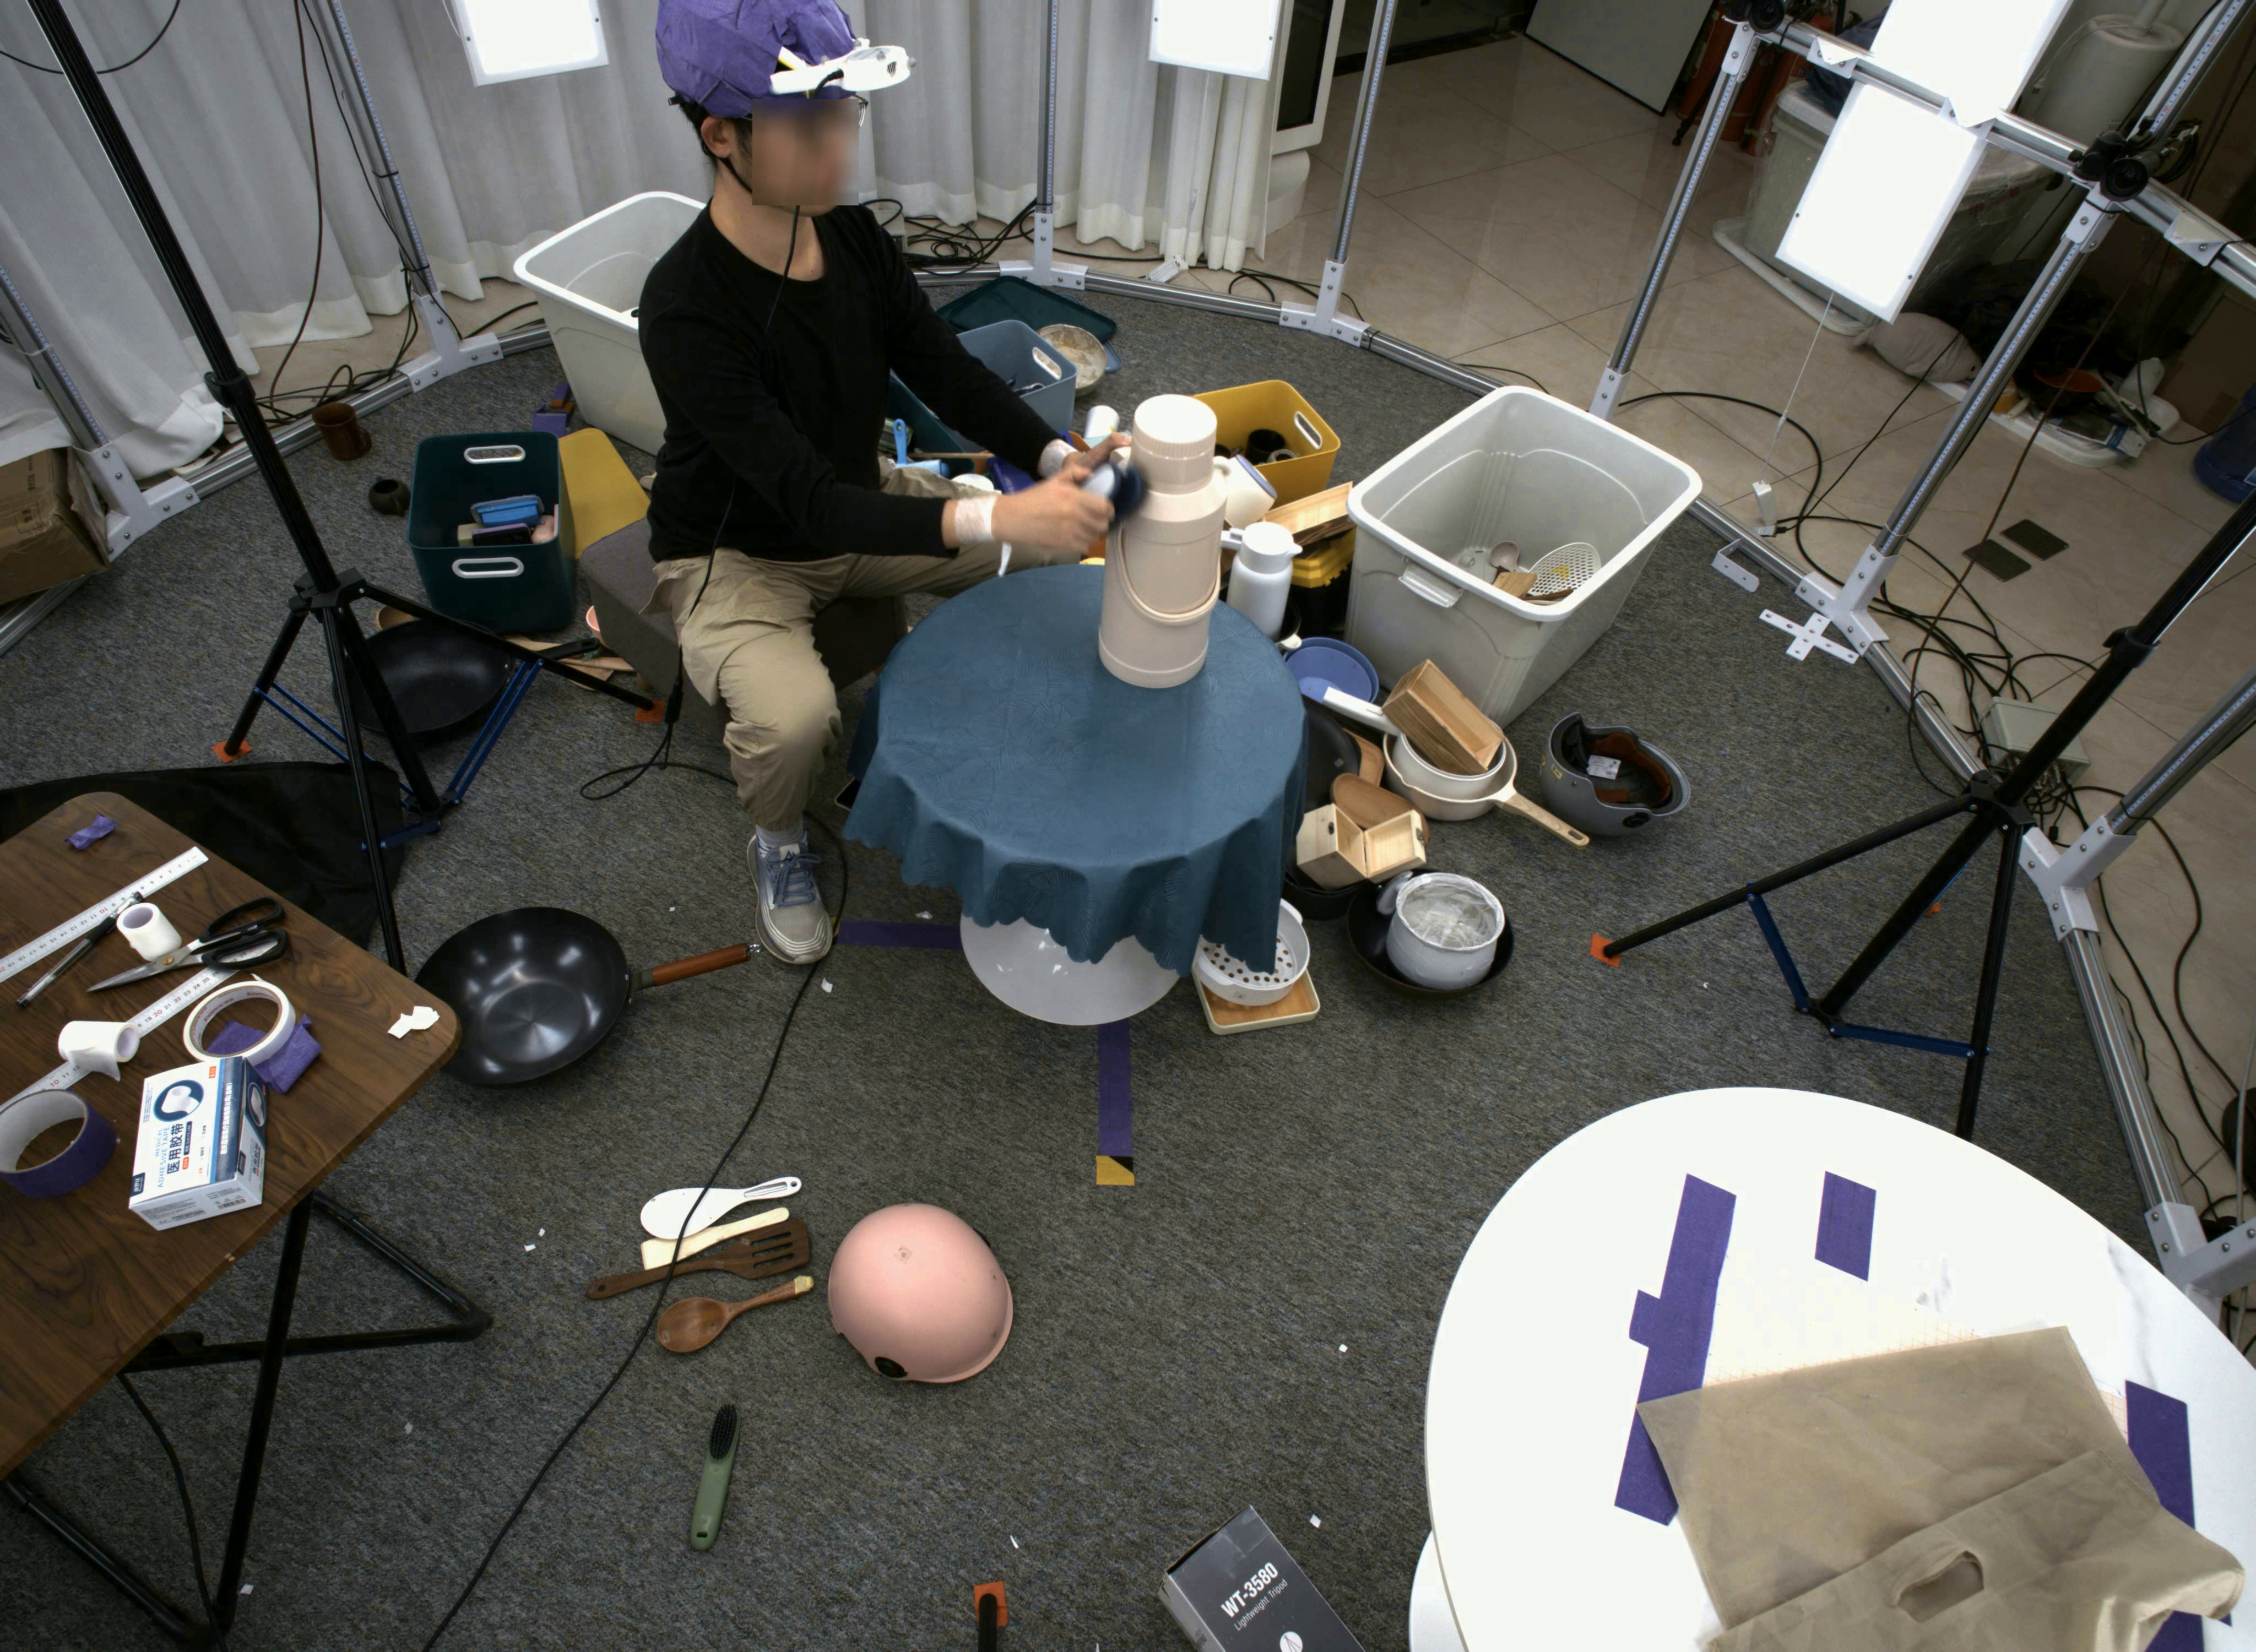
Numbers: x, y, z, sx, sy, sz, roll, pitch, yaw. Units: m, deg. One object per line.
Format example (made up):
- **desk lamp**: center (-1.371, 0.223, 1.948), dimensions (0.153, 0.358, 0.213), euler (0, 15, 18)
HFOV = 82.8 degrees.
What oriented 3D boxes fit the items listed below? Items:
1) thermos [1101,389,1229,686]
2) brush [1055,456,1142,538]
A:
- **thermos**: center (0.042, -0.395, 1.760), dimensions (0.176, 0.396, 0.211), euler (-28, 57, -23)
- **brush**: center (-0.036, -0.414, 1.634), dimensions (0.060, 0.120, 0.069), euler (17, 55, -40)
